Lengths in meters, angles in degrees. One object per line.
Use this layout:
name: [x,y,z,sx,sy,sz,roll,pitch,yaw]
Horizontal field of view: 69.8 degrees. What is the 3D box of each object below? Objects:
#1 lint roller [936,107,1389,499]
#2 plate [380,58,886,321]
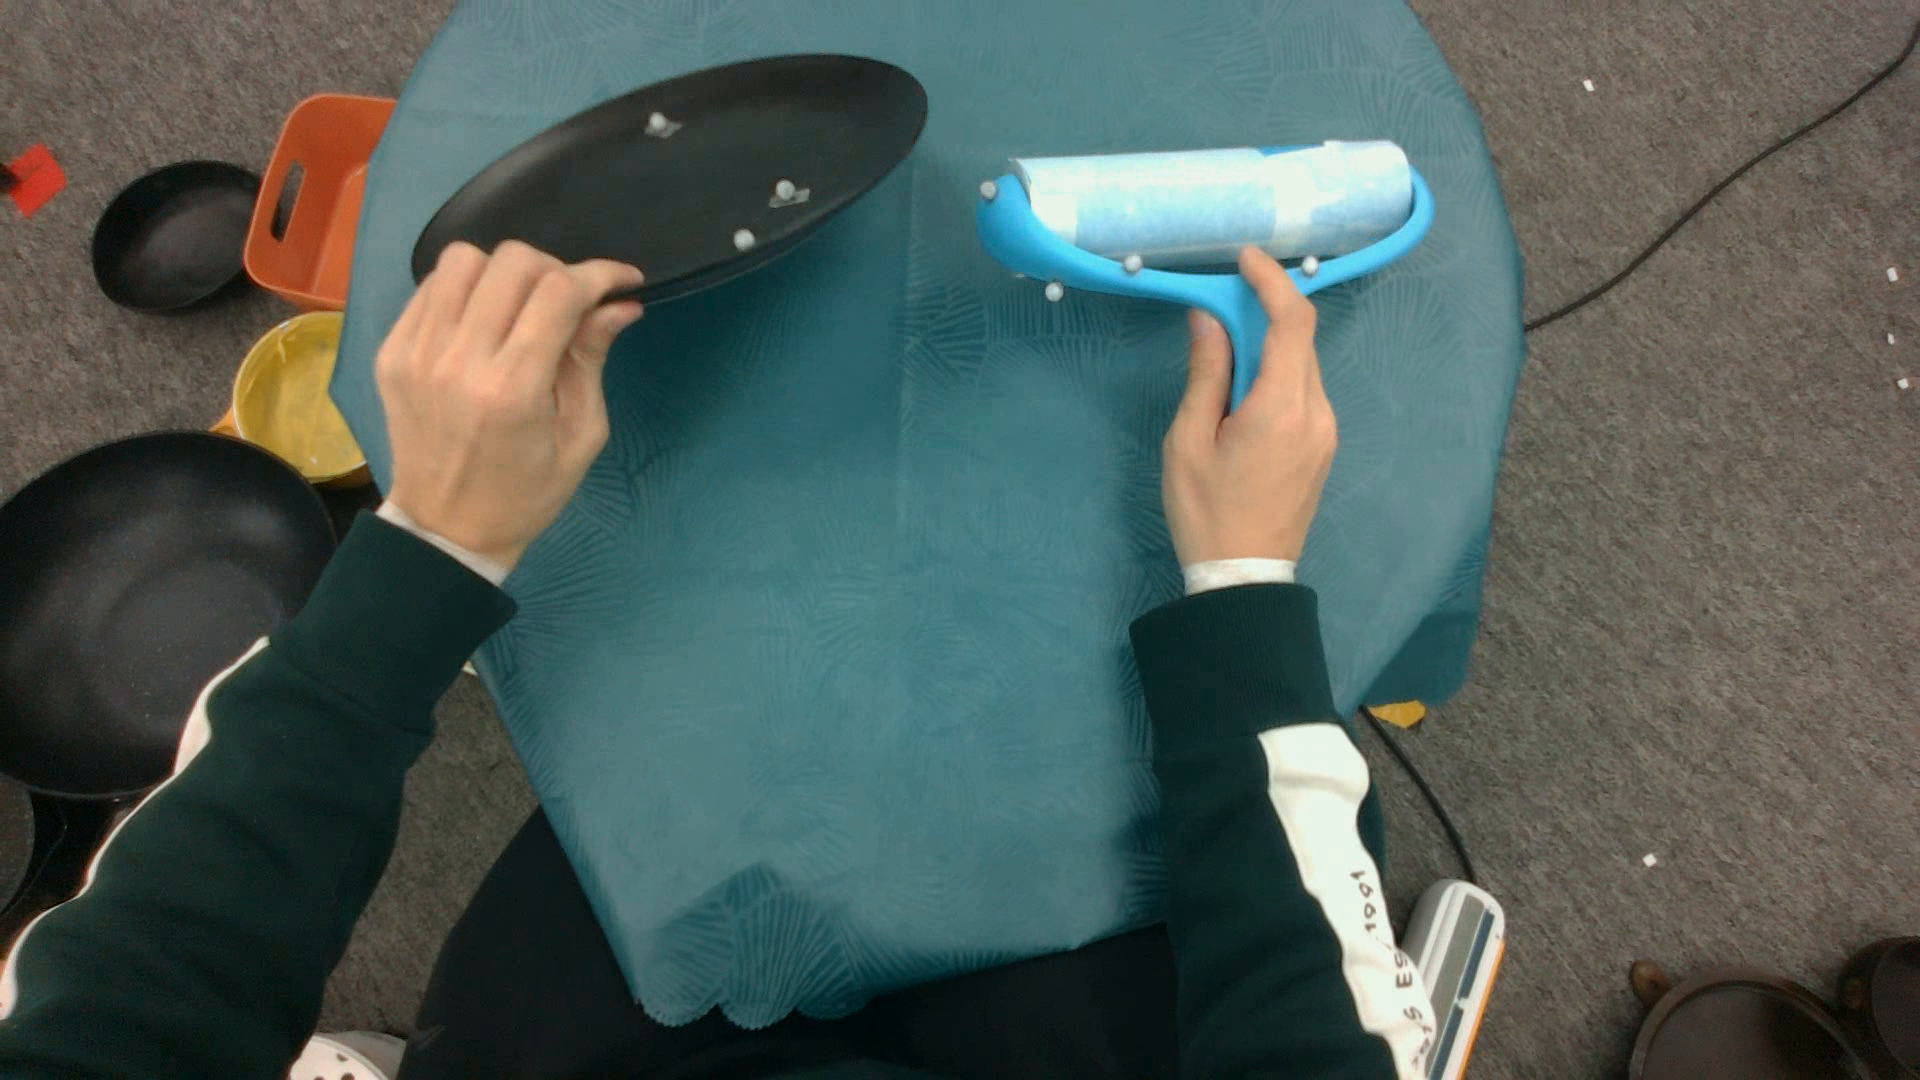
lint roller: [0.111,-0.112,0.647,0.229,0.068,0.180,-13,87,-21]
plate: [-0.145,-0.159,0.629,0.244,0.023,0.245,-15,34,10]
